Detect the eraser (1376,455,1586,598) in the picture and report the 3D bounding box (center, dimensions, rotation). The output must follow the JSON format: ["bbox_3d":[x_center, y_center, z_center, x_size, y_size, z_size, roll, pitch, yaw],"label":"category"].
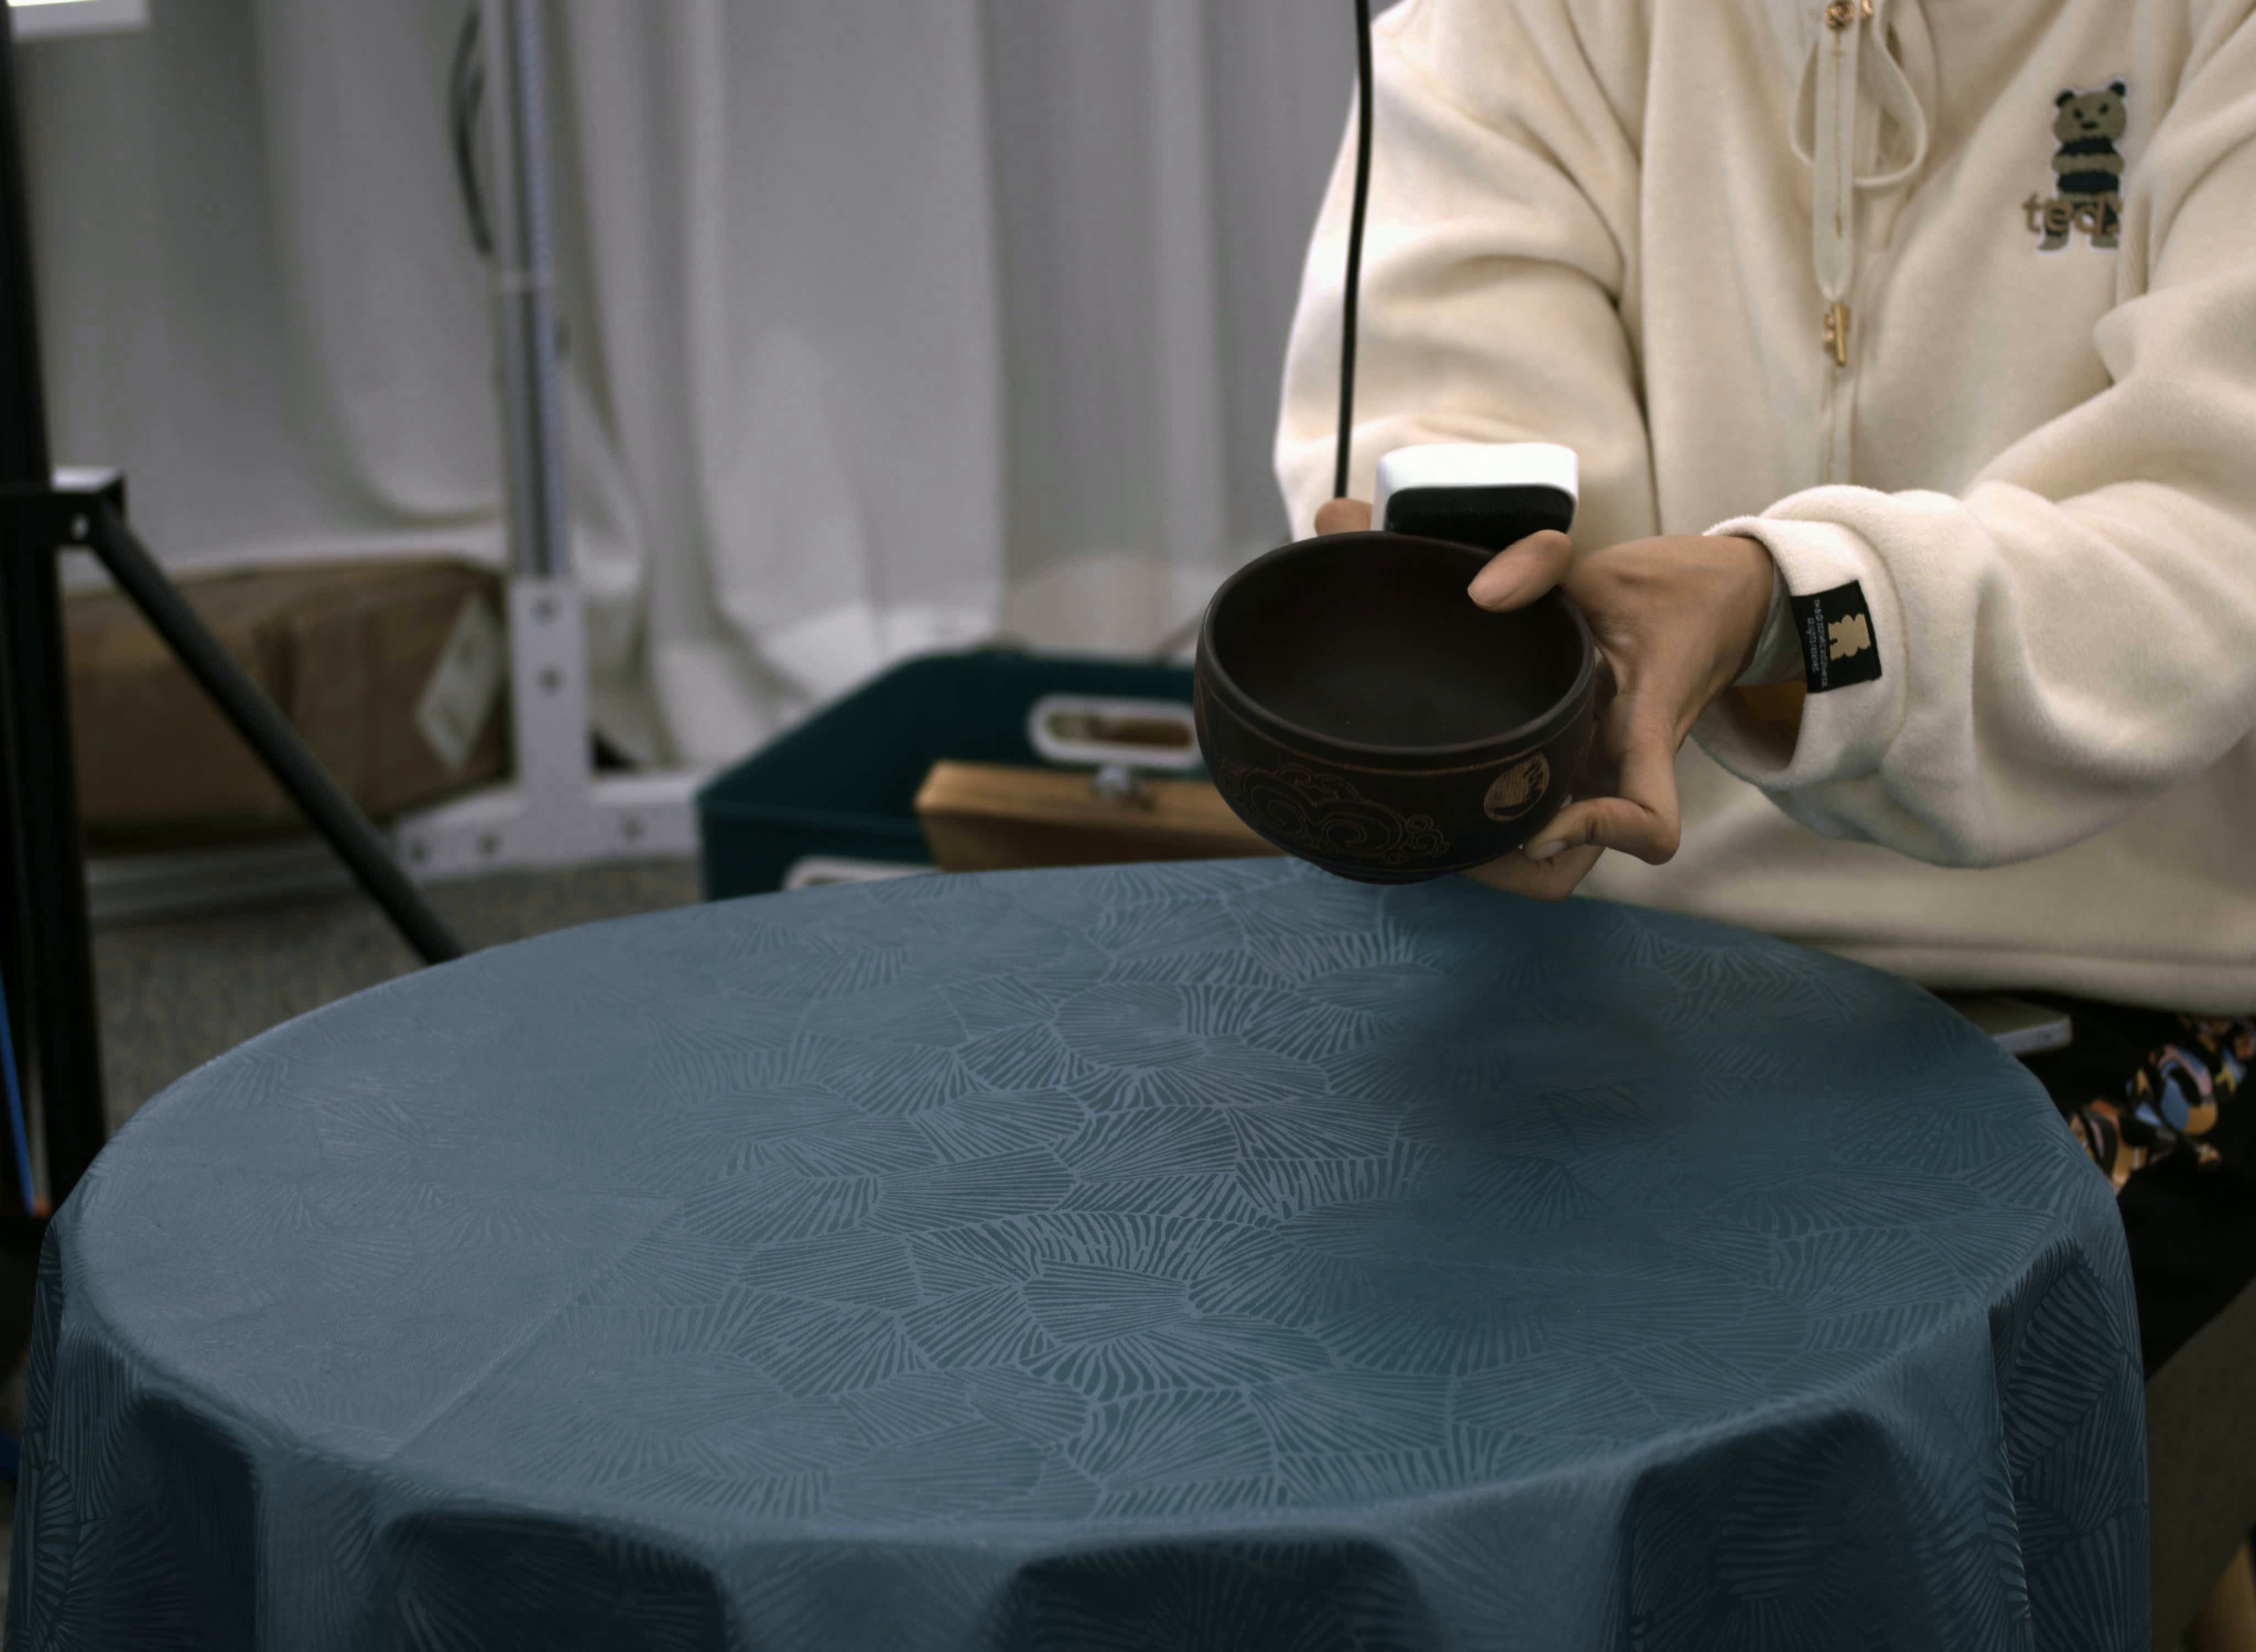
[{"bbox_3d":[0.107,-0.074,1.626,0.063,0.035,0.130,0,-27,0],"label":"eraser"}]

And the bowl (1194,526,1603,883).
[{"bbox_3d":[0.077,-0.027,1.543,0.117,0.069,0.119,2,35,-3],"label":"bowl"}]
